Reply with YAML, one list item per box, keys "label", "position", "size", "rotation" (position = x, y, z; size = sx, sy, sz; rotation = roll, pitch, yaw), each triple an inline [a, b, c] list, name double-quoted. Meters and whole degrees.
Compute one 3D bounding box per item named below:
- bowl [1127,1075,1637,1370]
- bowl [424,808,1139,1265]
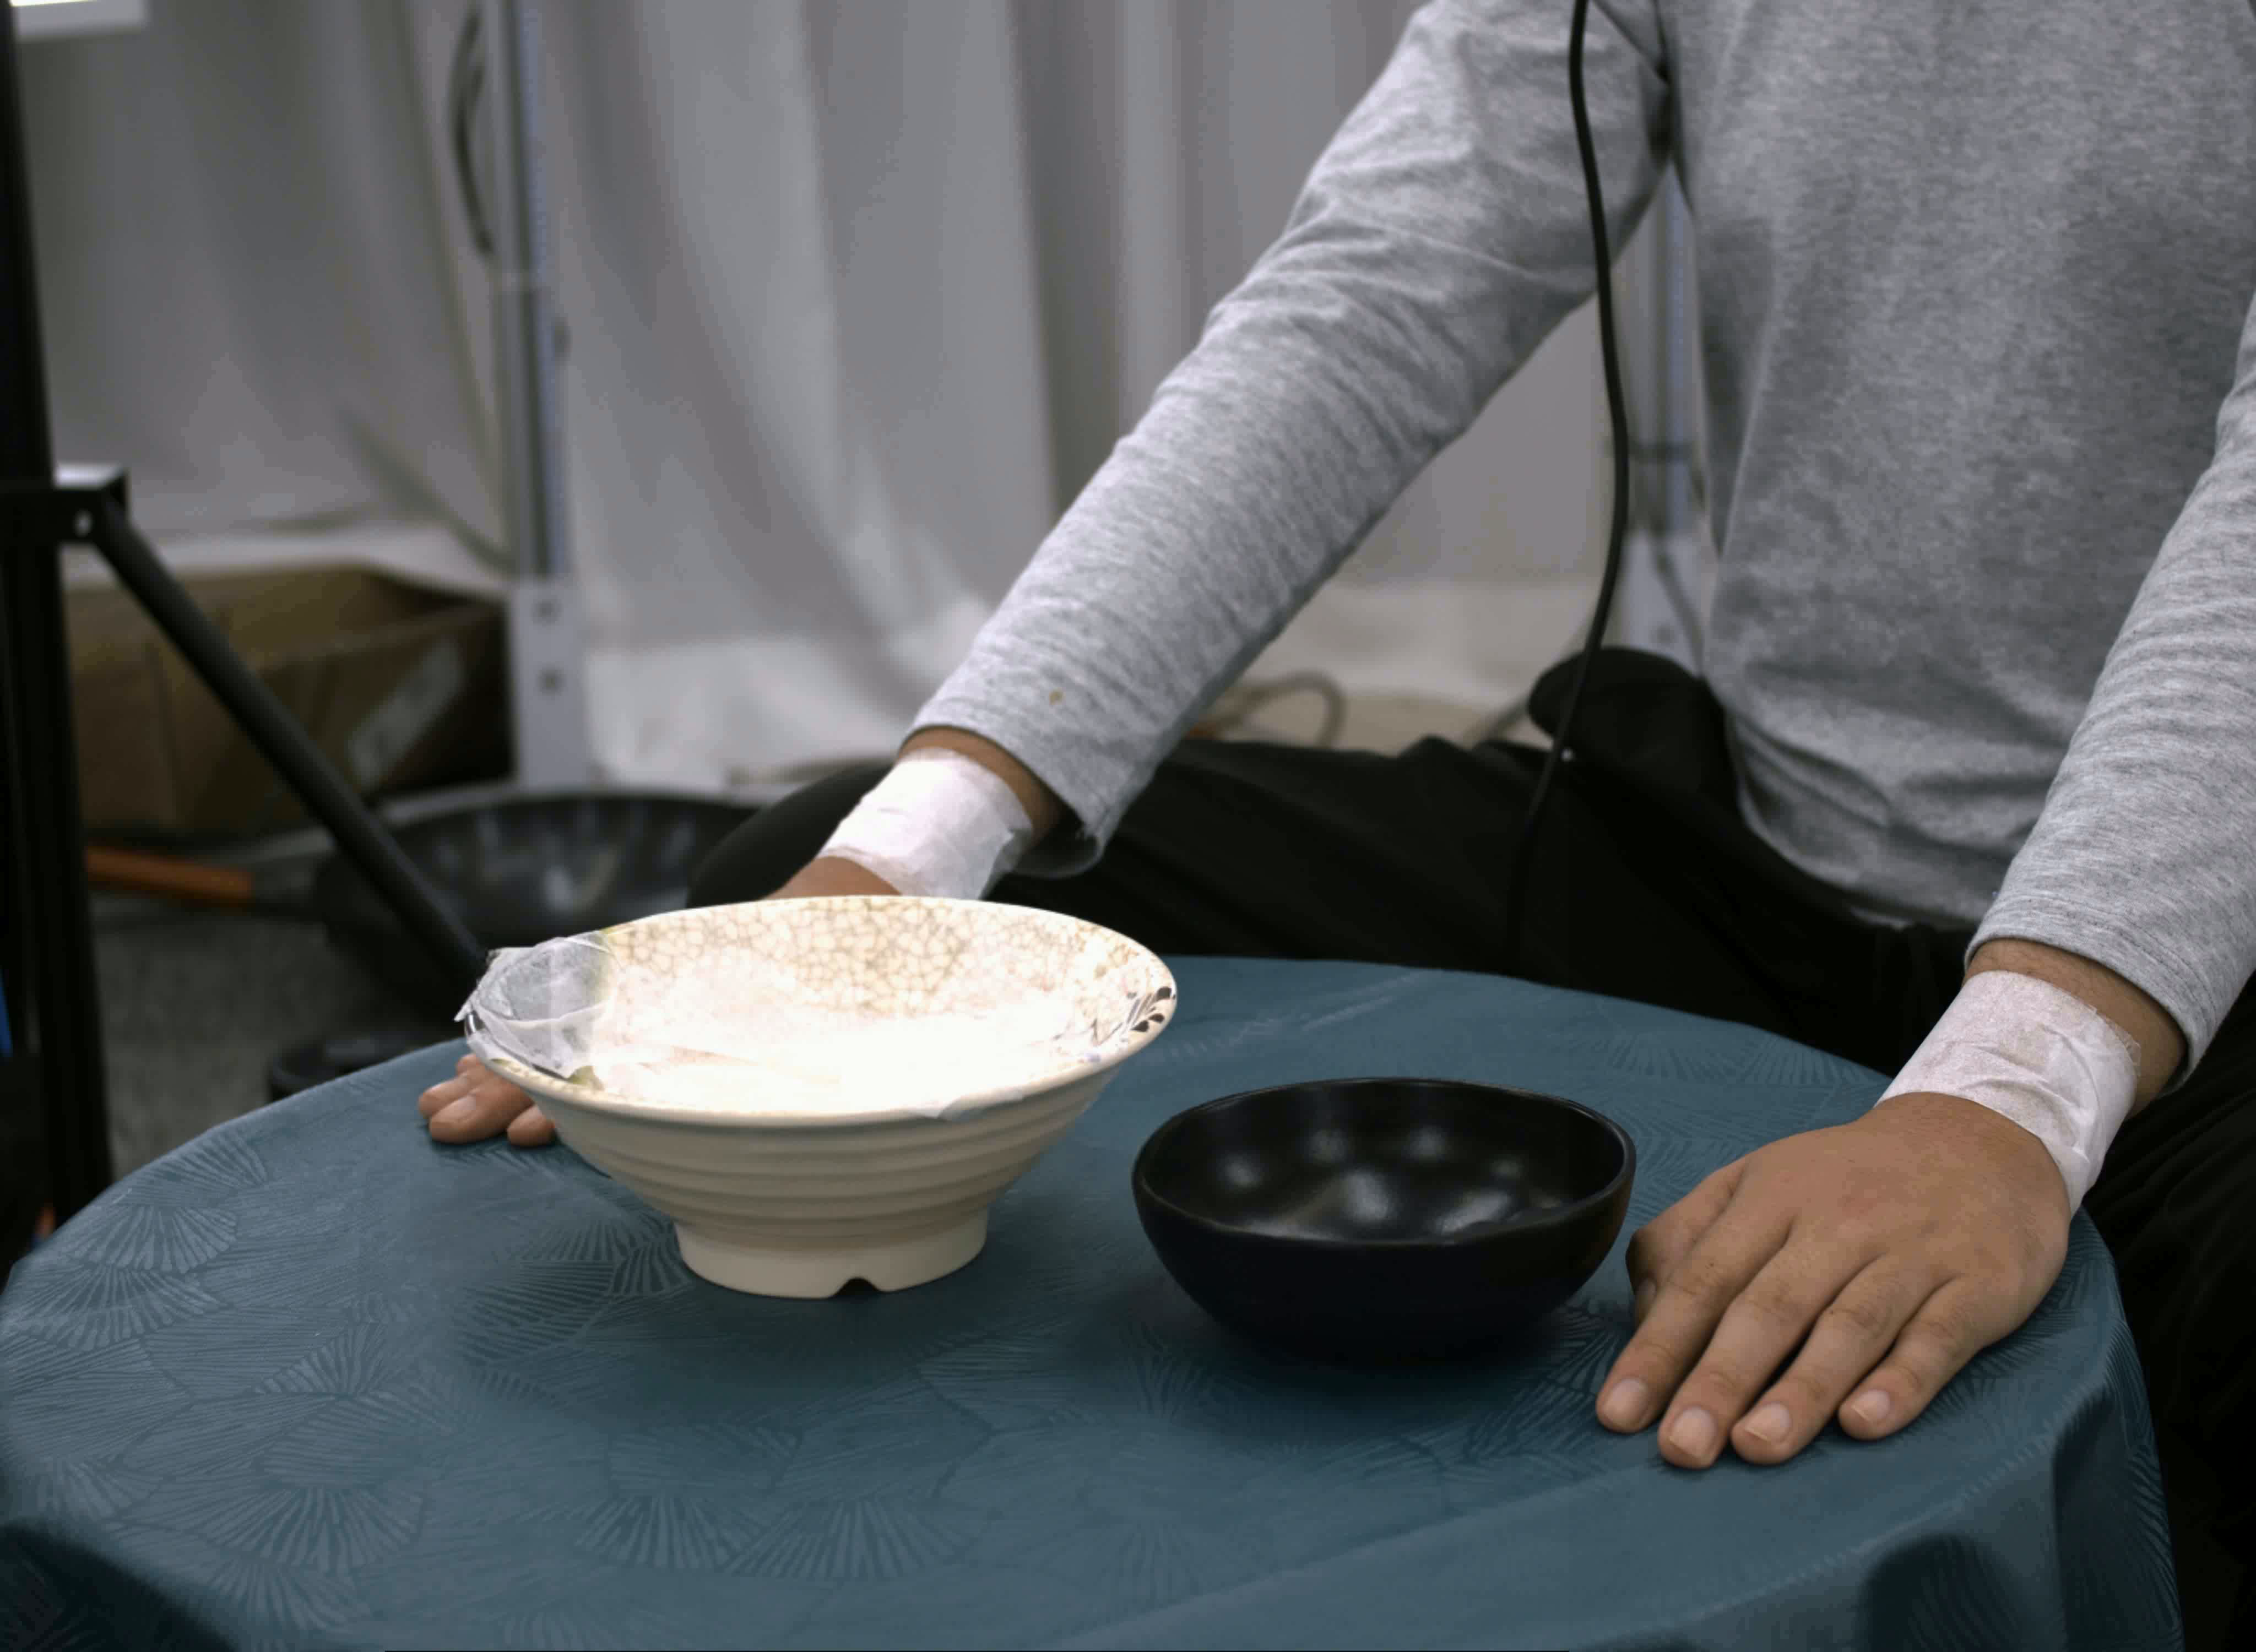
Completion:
- label: "bowl"
  position: [0.069, 0.113, 1.444]
  size: [0.139, 0.050, 0.141]
  rotation: [0, 16, -1]
- label: "bowl"
  position: [-0.095, 0.071, 1.519]
  size: [0.203, 0.077, 0.205]
  rotation: [-6, 23, 1]
